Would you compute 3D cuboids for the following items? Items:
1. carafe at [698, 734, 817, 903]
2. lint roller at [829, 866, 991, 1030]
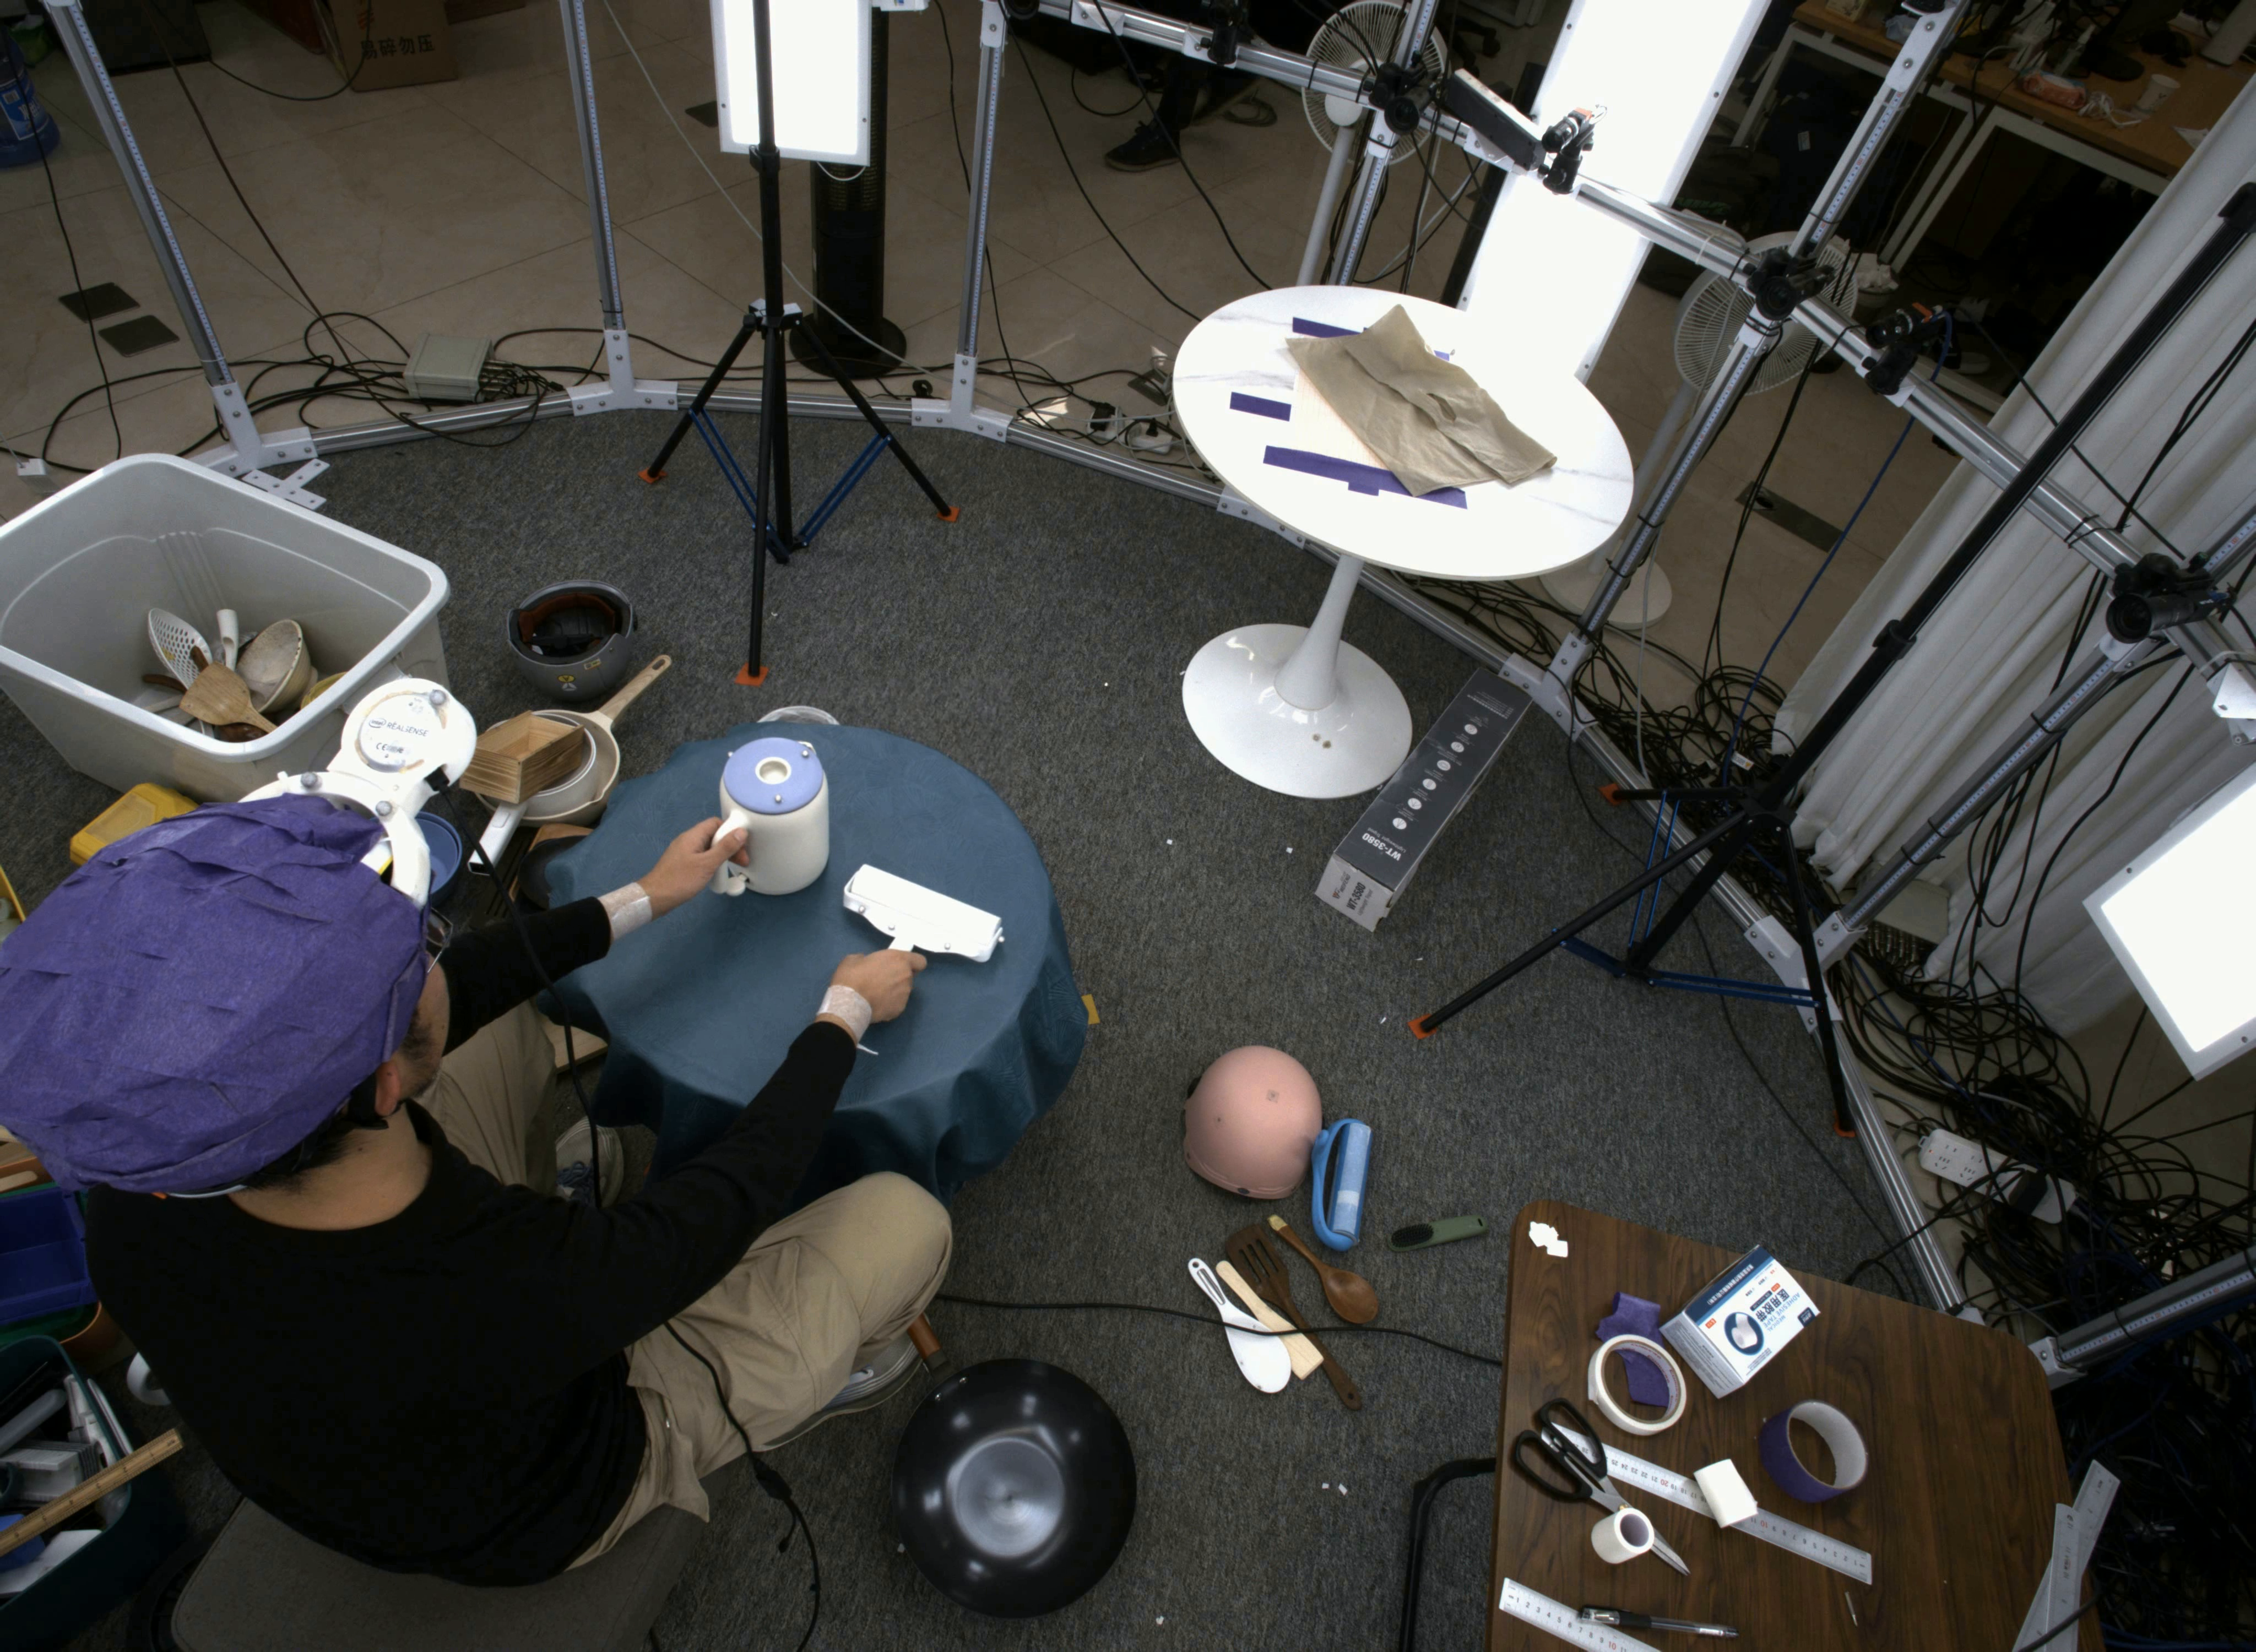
[{"bbox_3d":[-0.467,0.004,1.593,0.130,0.186,0.190,26,54,9],"label":"carafe"},{"bbox_3d":[-0.295,0.155,1.586,0.201,0.049,0.223,21,41,1],"label":"lint roller"}]
